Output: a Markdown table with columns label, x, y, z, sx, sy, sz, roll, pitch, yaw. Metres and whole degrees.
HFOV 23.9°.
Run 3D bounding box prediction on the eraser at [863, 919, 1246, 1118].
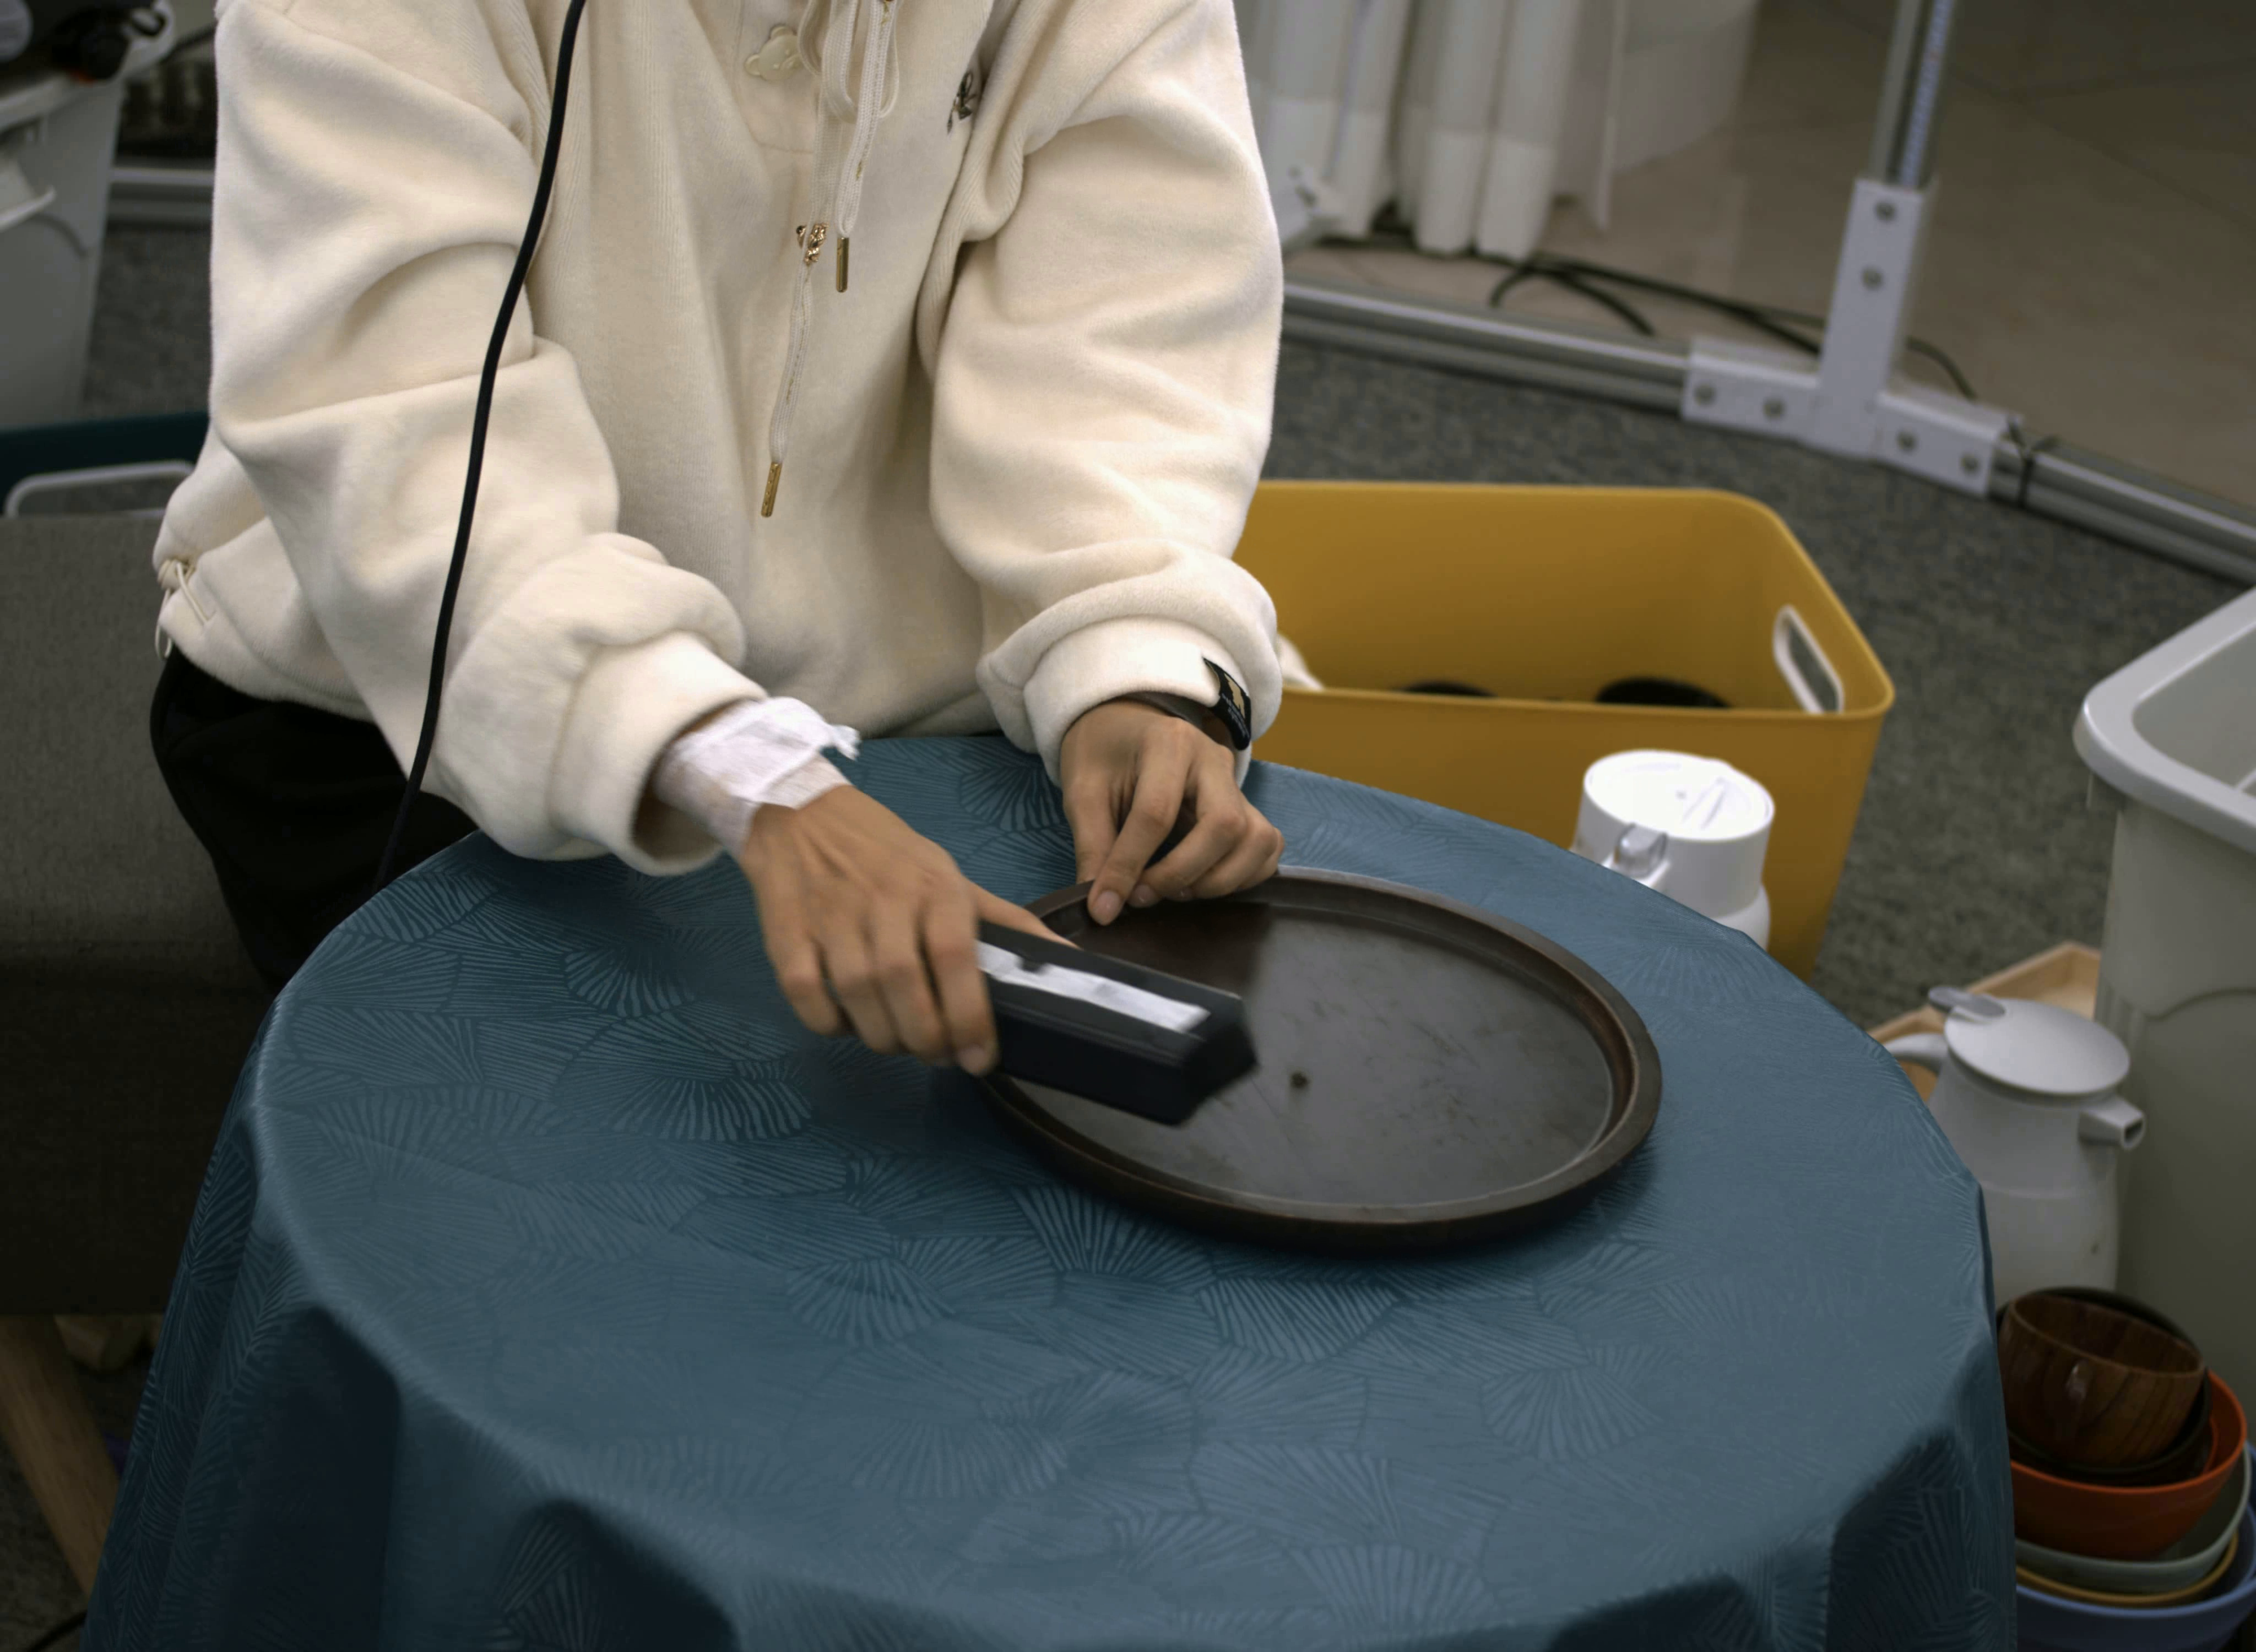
| label | x | y | z | sx | sy | sz | roll | pitch | yaw |
| --- | --- | --- | --- | --- | --- | --- | --- | --- | --- |
| eraser | -0.024 | 0.064 | 1.802 | 0.126 | 0.030 | 0.053 | 14 | 29 | 31 |

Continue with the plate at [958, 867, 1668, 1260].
| label | x | y | z | sx | sy | sz | roll | pitch | yaw |
| --- | --- | --- | --- | --- | --- | --- | --- | --- | --- |
| plate | 0.063 | 0.081 | 1.873 | 0.254 | 0.029 | 0.256 | 5 | 28 | -3 |
